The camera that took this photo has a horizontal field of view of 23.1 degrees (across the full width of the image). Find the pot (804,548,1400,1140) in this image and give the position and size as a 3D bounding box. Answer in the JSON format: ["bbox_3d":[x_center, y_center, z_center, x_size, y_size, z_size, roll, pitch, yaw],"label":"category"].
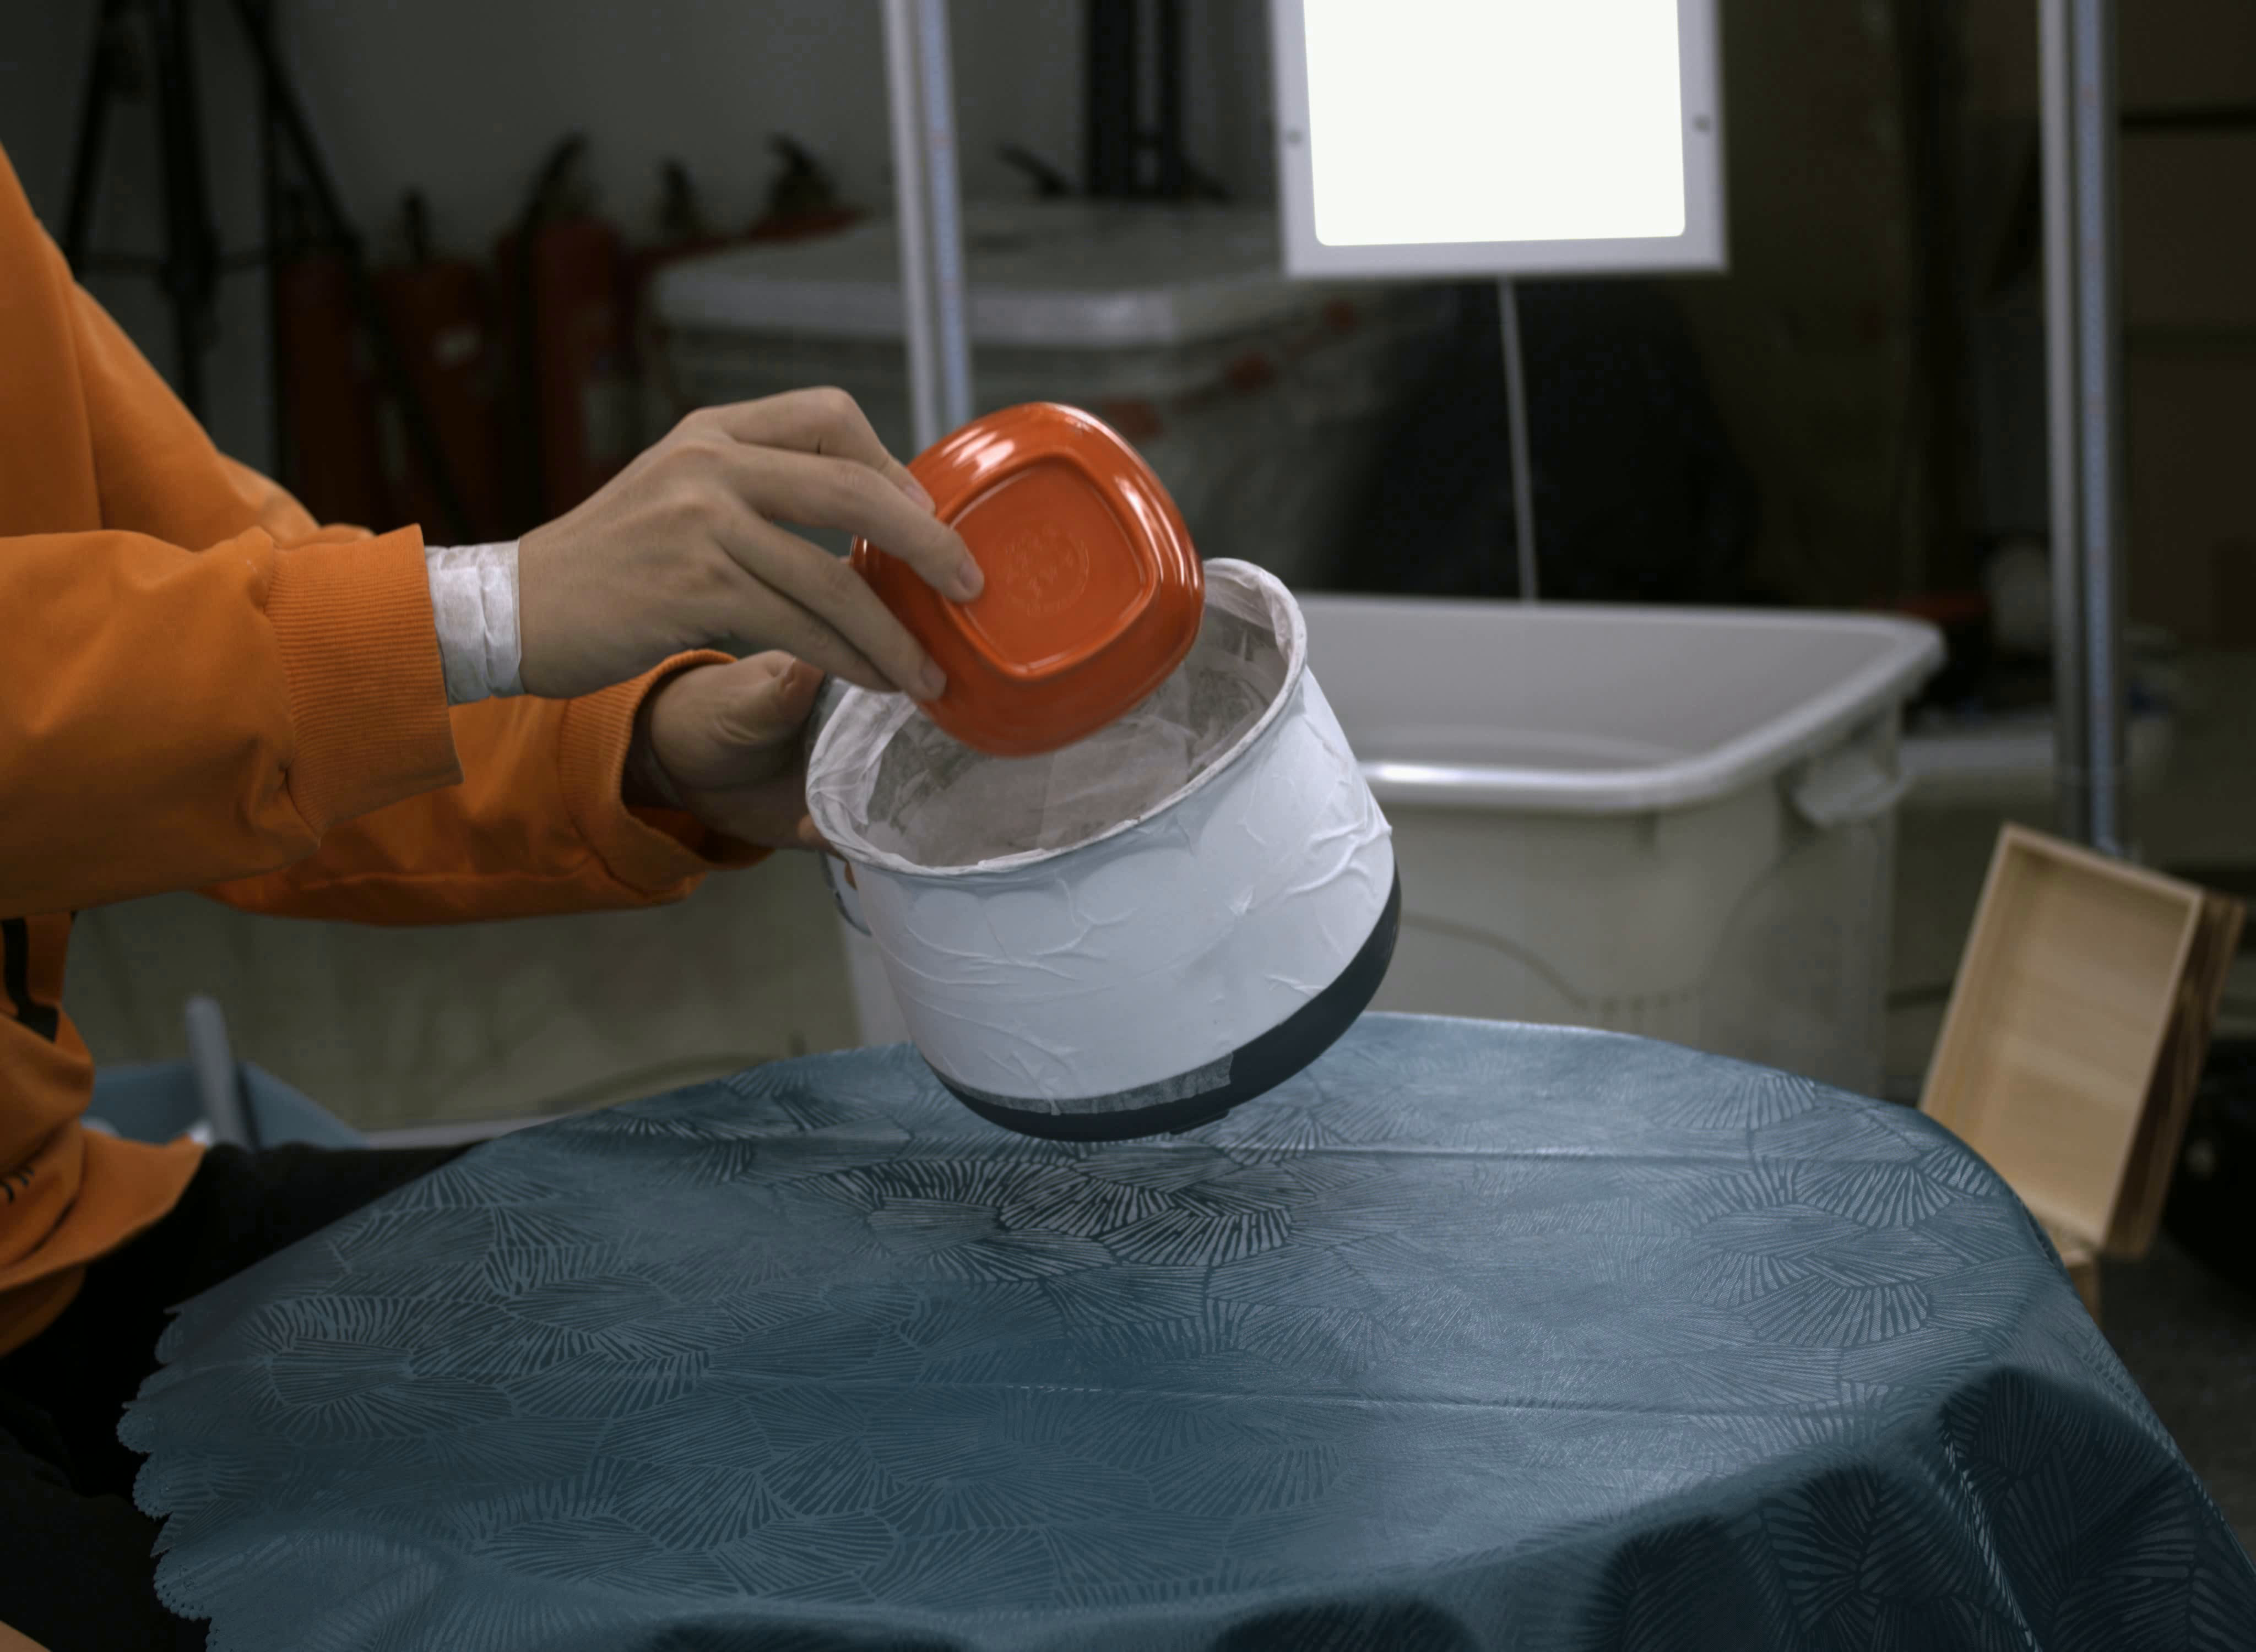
[{"bbox_3d":[-0.025,0.006,1.871,0.239,0.136,0.175,10,44,42],"label":"pot"}]

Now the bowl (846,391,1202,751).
[{"bbox_3d":[-0.031,-0.085,1.781,0.118,0.119,0.051,-6,-3,-4],"label":"bowl"}]
